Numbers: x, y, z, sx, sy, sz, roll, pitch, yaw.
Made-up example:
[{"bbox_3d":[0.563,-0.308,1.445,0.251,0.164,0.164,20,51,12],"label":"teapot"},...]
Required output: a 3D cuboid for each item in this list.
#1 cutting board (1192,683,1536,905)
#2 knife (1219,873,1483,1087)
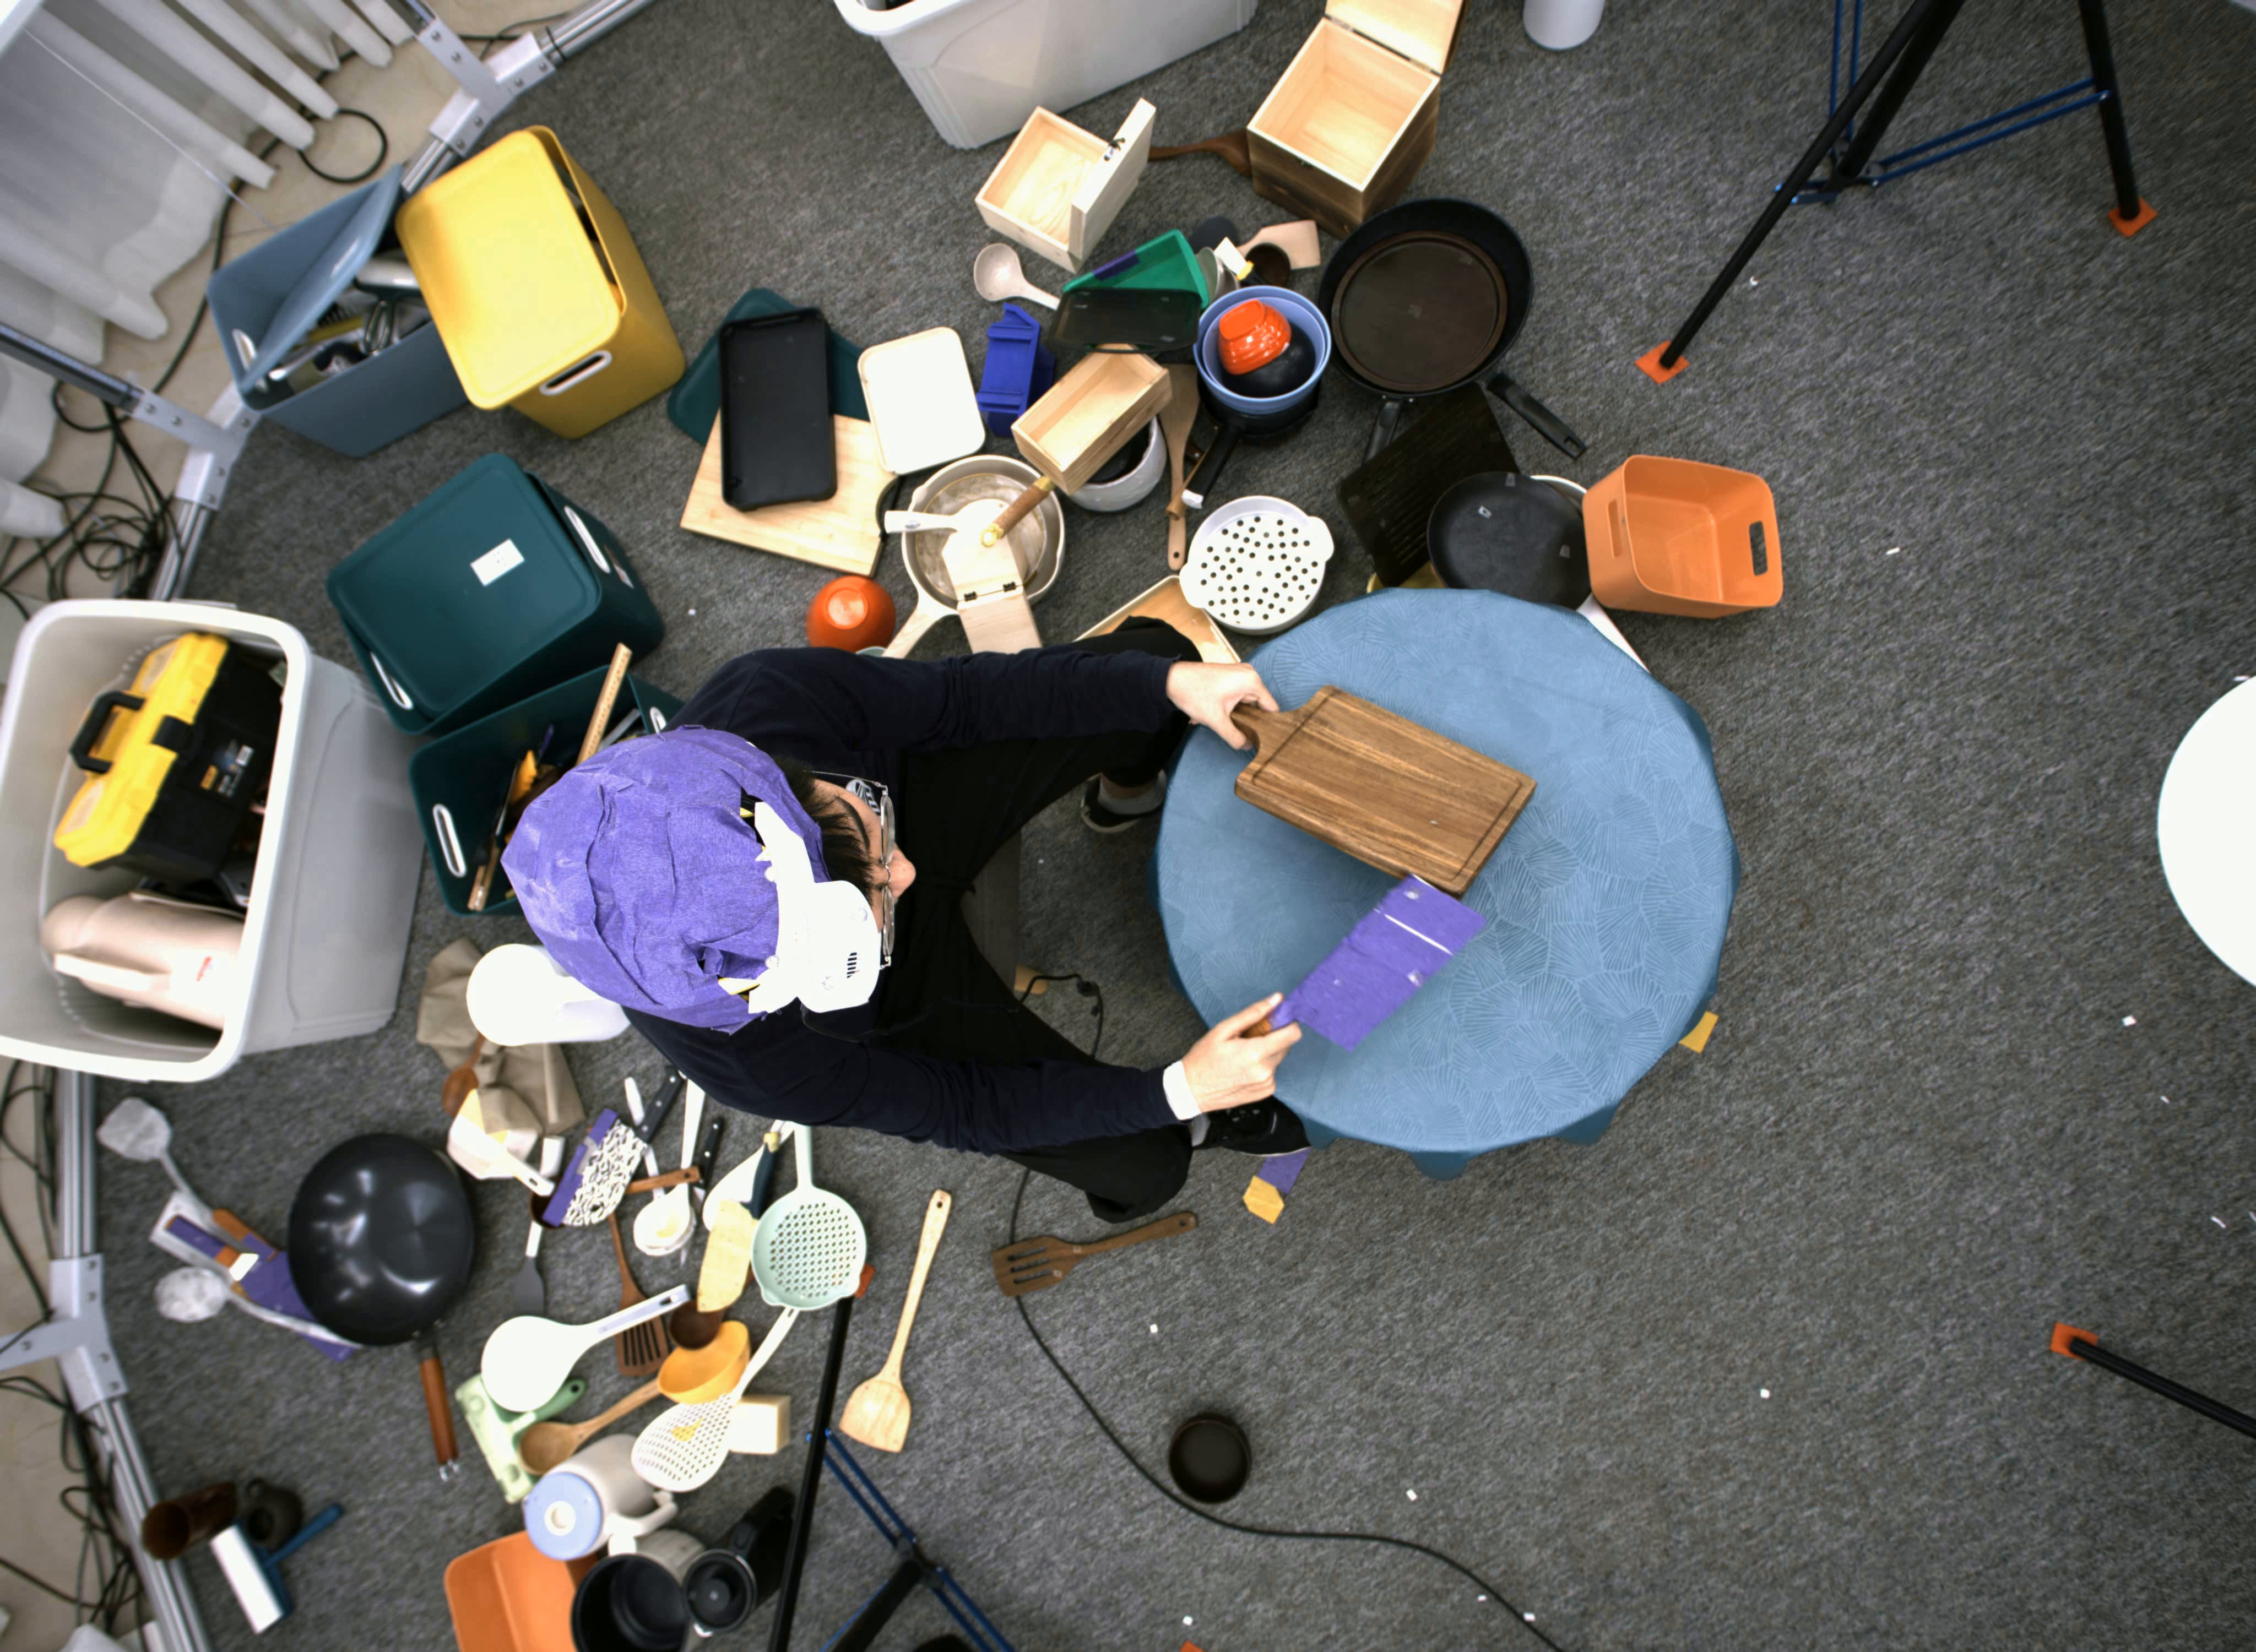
[{"bbox_3d":[0.218,-0.062,1.400,0.351,0.024,0.196,28,53,21],"label":"cutting board"},{"bbox_3d":[0.210,0.169,1.328,0.104,0.031,0.323,32,126,-10],"label":"knife"}]
